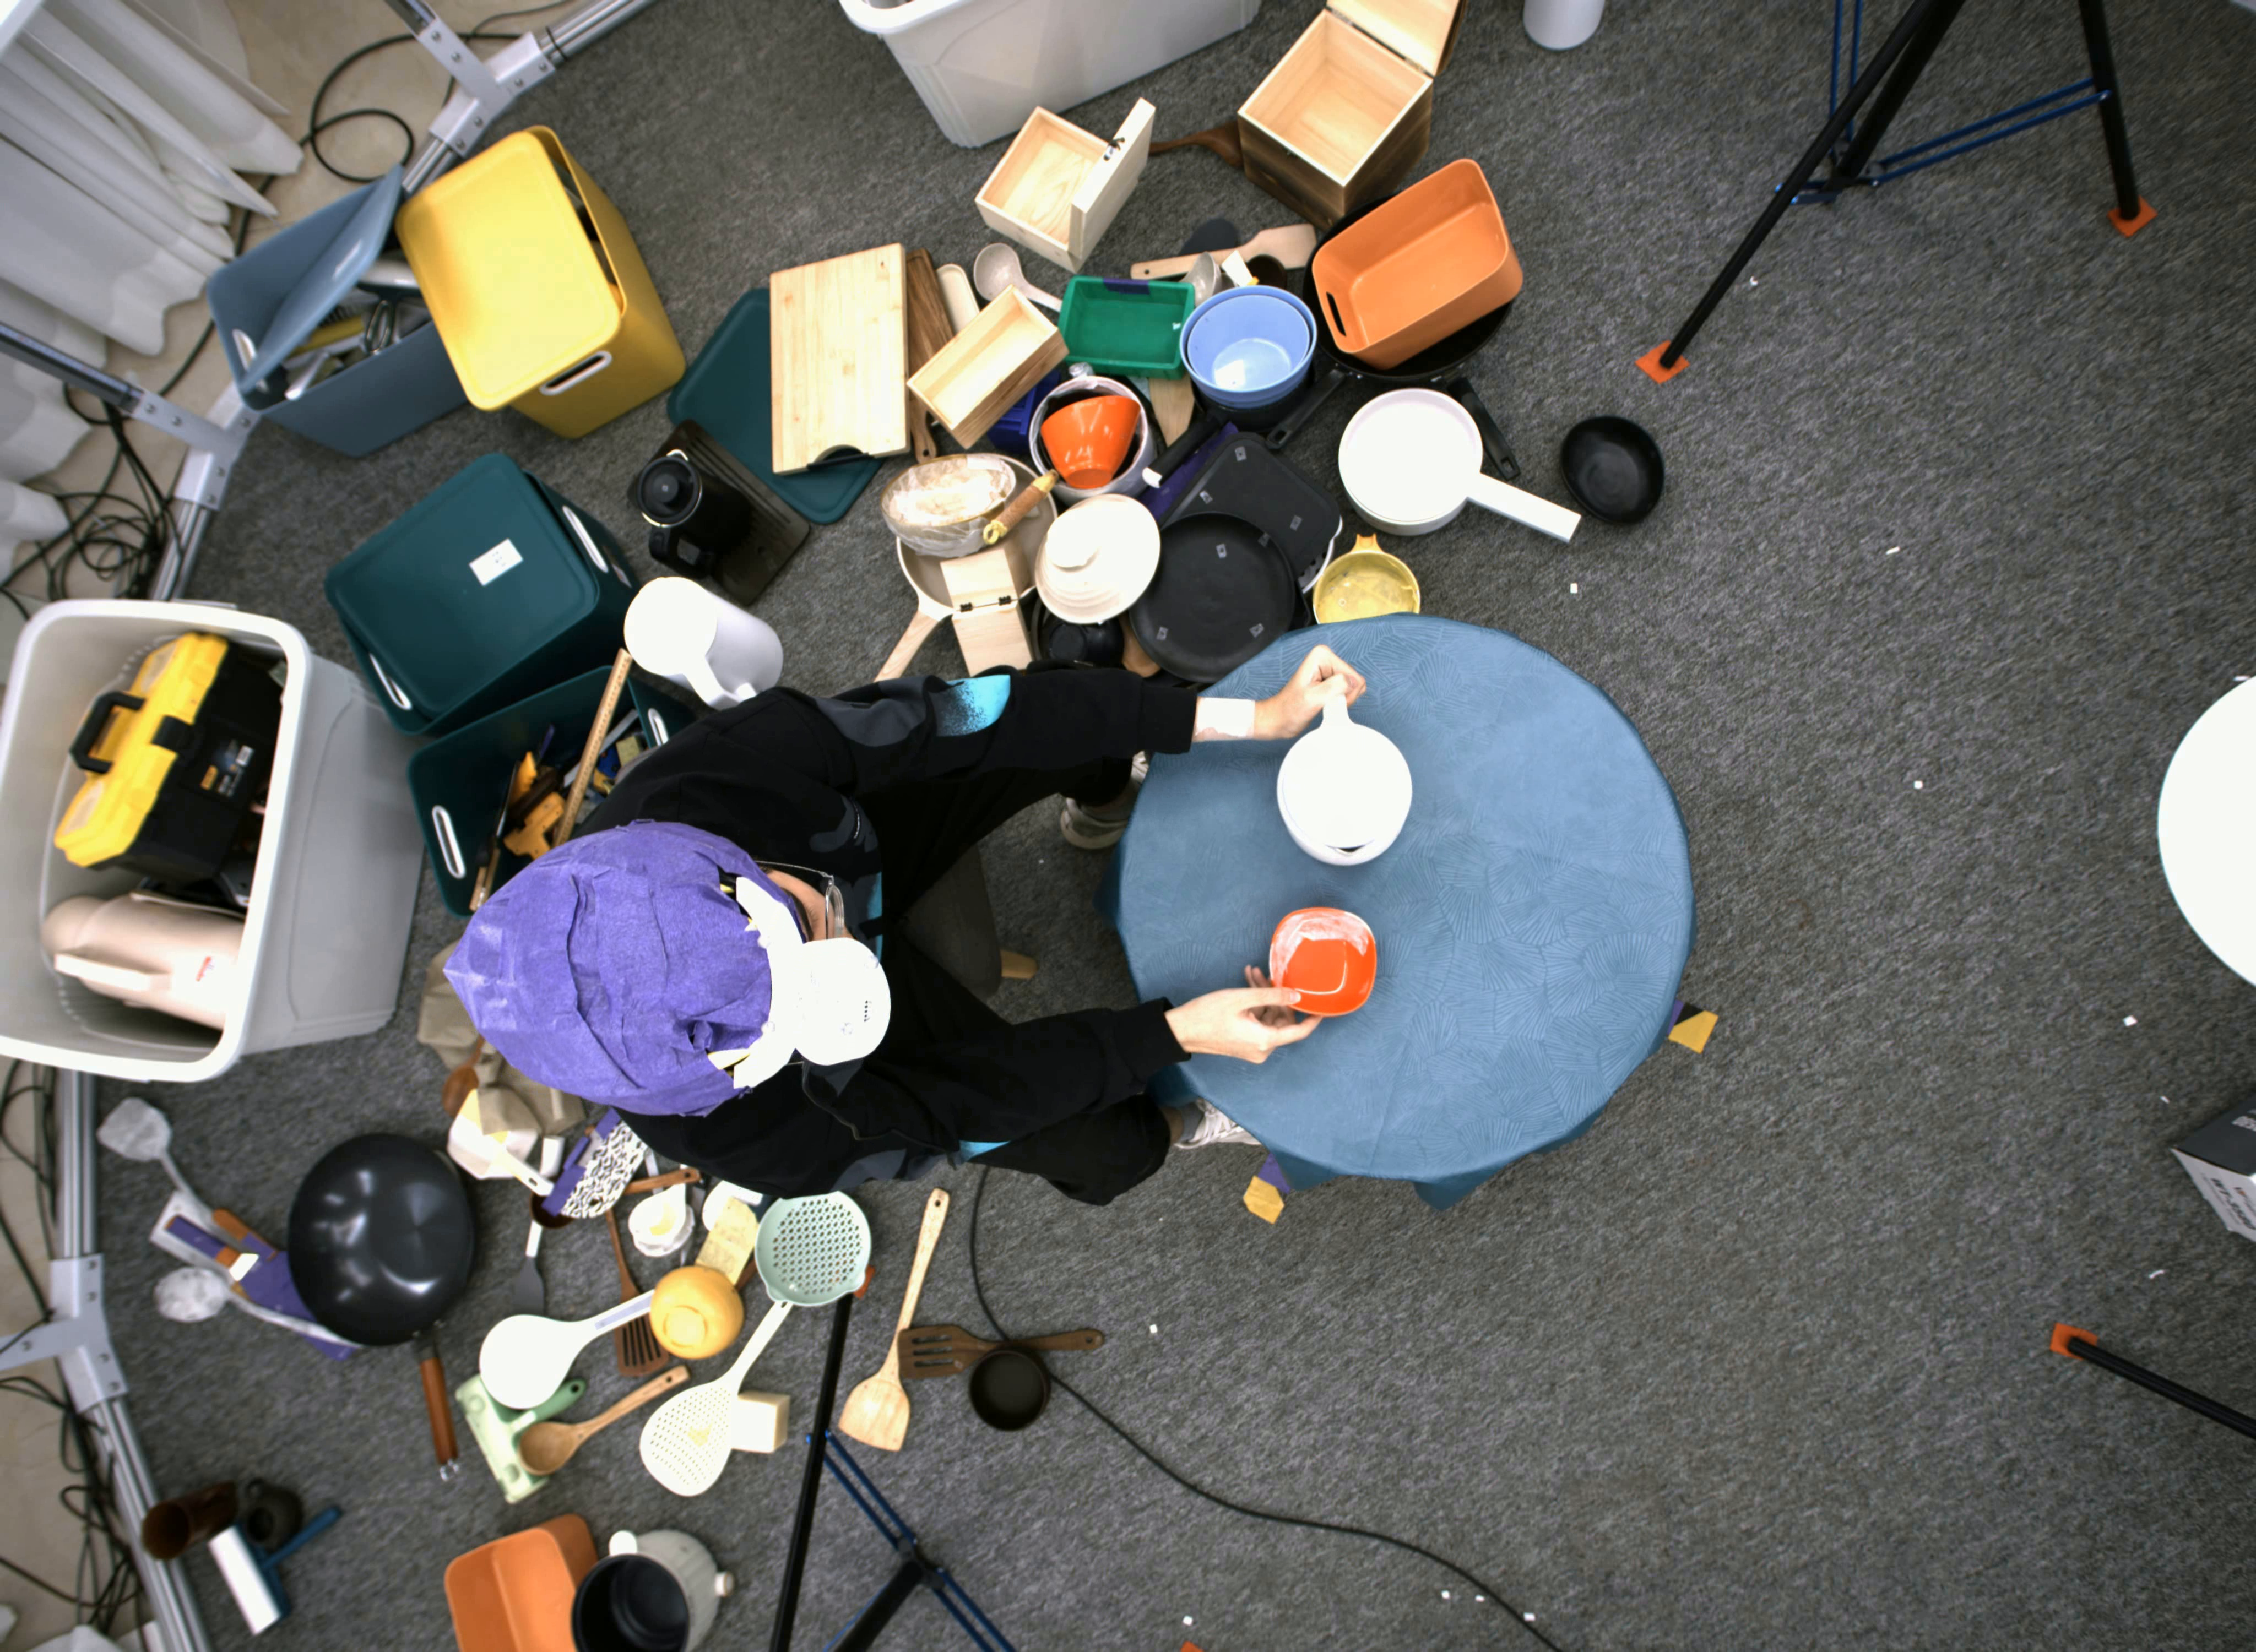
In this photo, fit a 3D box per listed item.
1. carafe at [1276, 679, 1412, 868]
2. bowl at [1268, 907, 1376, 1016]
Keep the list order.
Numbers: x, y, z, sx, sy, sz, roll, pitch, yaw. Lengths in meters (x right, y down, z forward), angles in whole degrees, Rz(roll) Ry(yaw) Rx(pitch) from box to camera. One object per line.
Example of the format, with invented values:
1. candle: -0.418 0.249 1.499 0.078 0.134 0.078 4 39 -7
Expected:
1. carafe: 0.212 -0.054 1.385 0.133 0.183 0.190 -9 82 7
2. bowl: 0.196 0.139 1.428 0.119 0.051 0.118 0 85 -3
